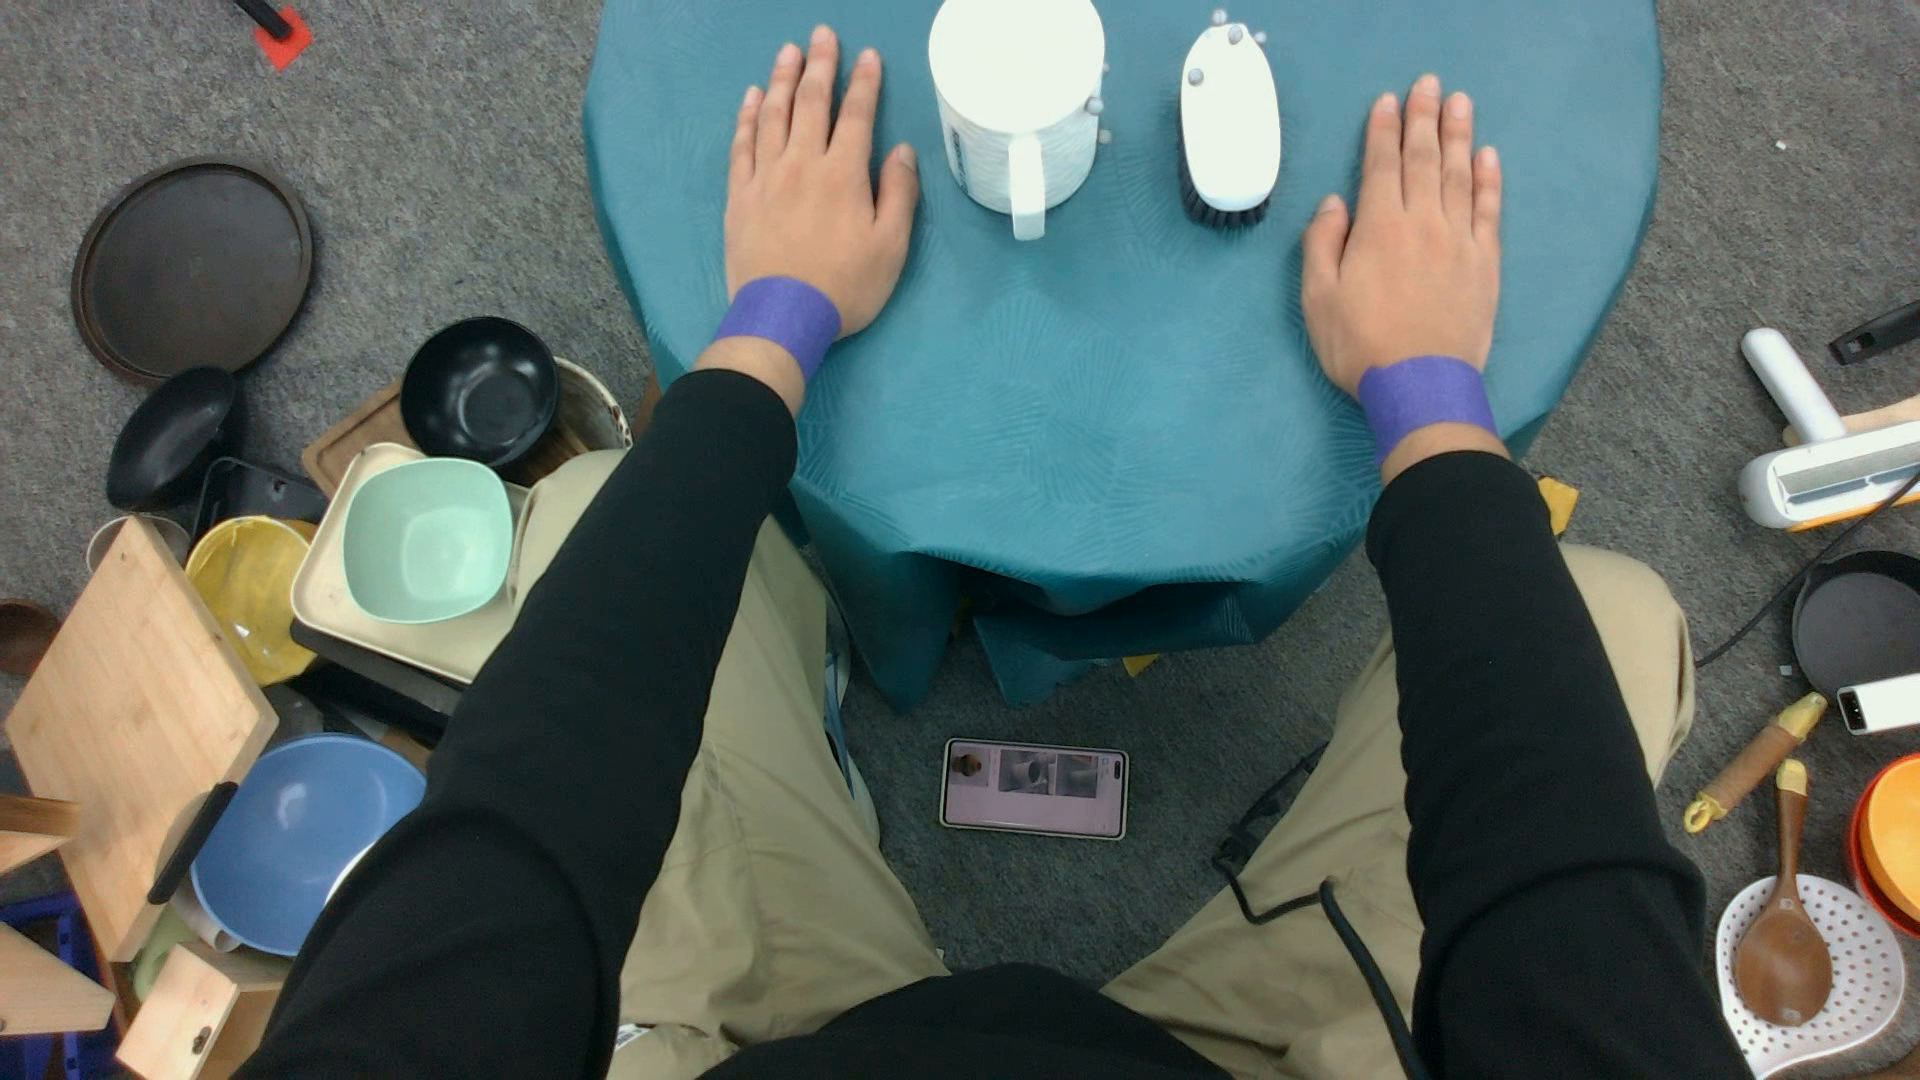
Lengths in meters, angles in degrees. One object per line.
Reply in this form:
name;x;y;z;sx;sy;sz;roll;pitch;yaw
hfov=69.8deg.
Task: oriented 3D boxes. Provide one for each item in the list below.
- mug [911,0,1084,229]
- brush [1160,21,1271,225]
mug;0.022;-0.219;0.716;0.085;0.102;0.118;-6;78;1
brush;0.136;-0.227;0.728;0.050;0.072;0.099;-12;74;5
